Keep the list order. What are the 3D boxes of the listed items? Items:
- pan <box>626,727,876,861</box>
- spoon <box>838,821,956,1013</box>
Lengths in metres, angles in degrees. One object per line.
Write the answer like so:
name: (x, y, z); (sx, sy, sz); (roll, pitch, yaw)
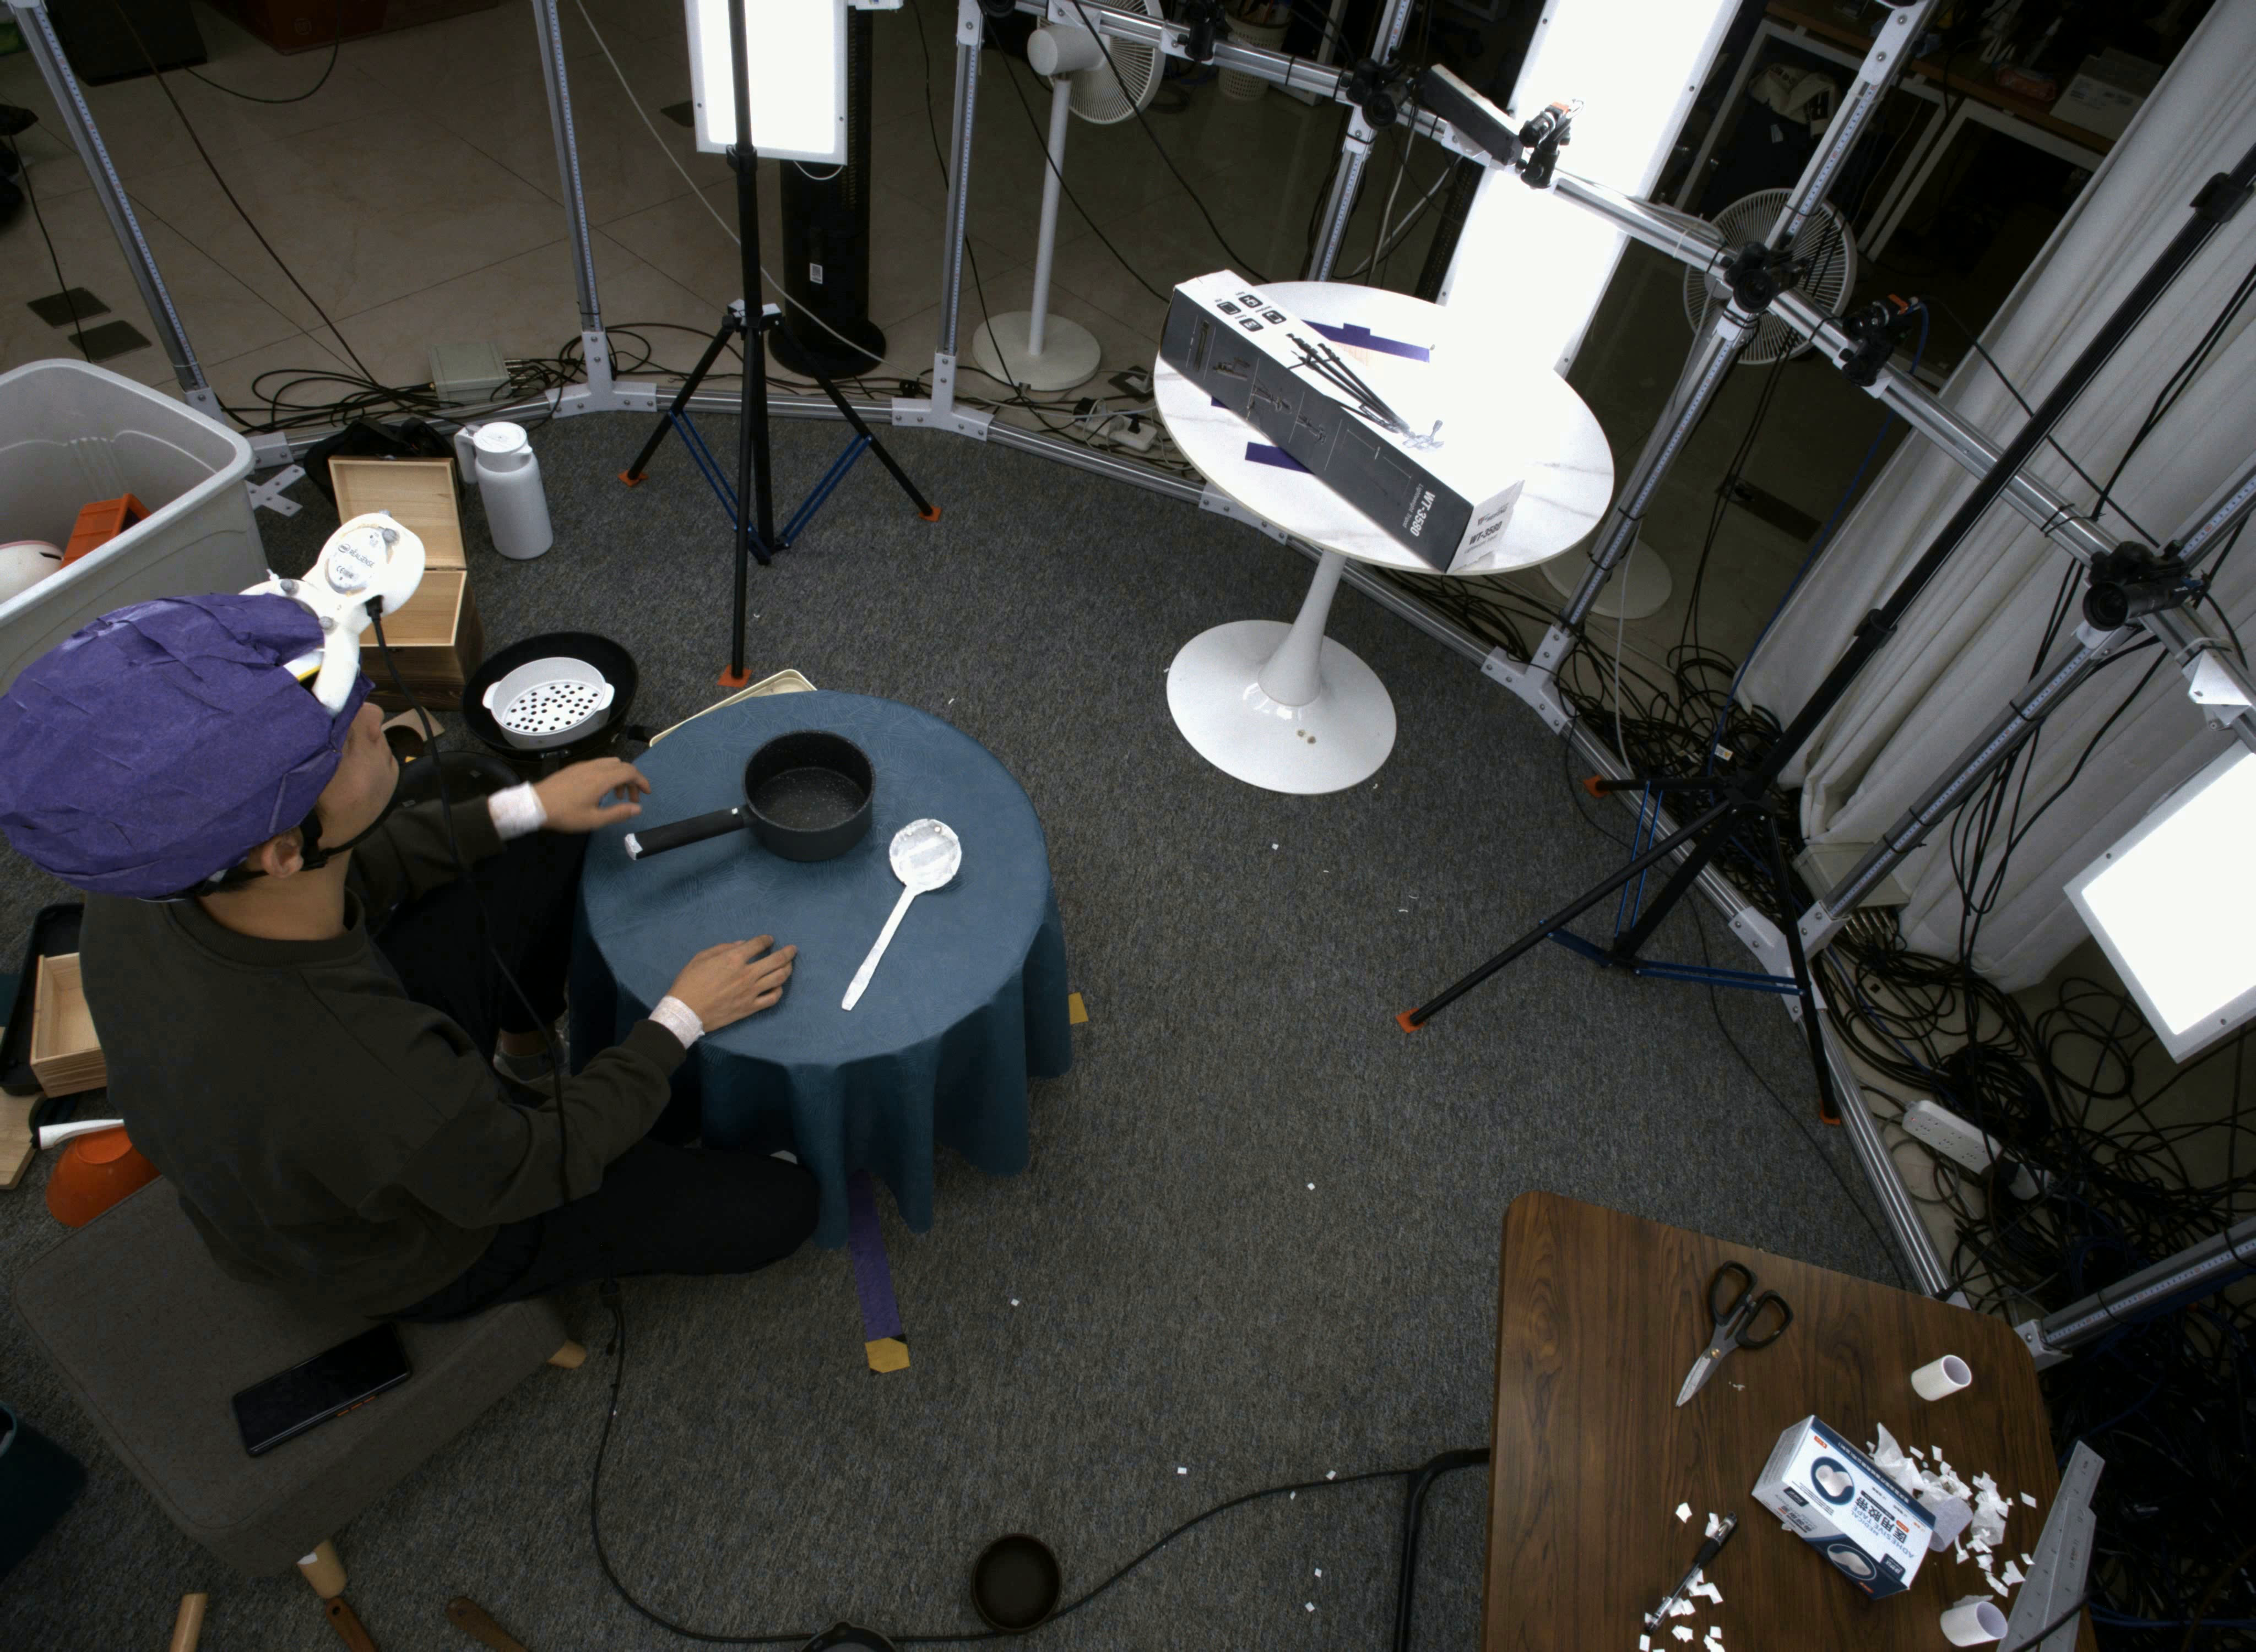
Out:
pan: (-0.485, -0.016, 1.678); (0.330, 0.088, 0.167); (-21, 60, -28)
spoon: (-0.308, 0.110, 1.656); (0.098, 0.061, 0.275); (16, 51, 13)
